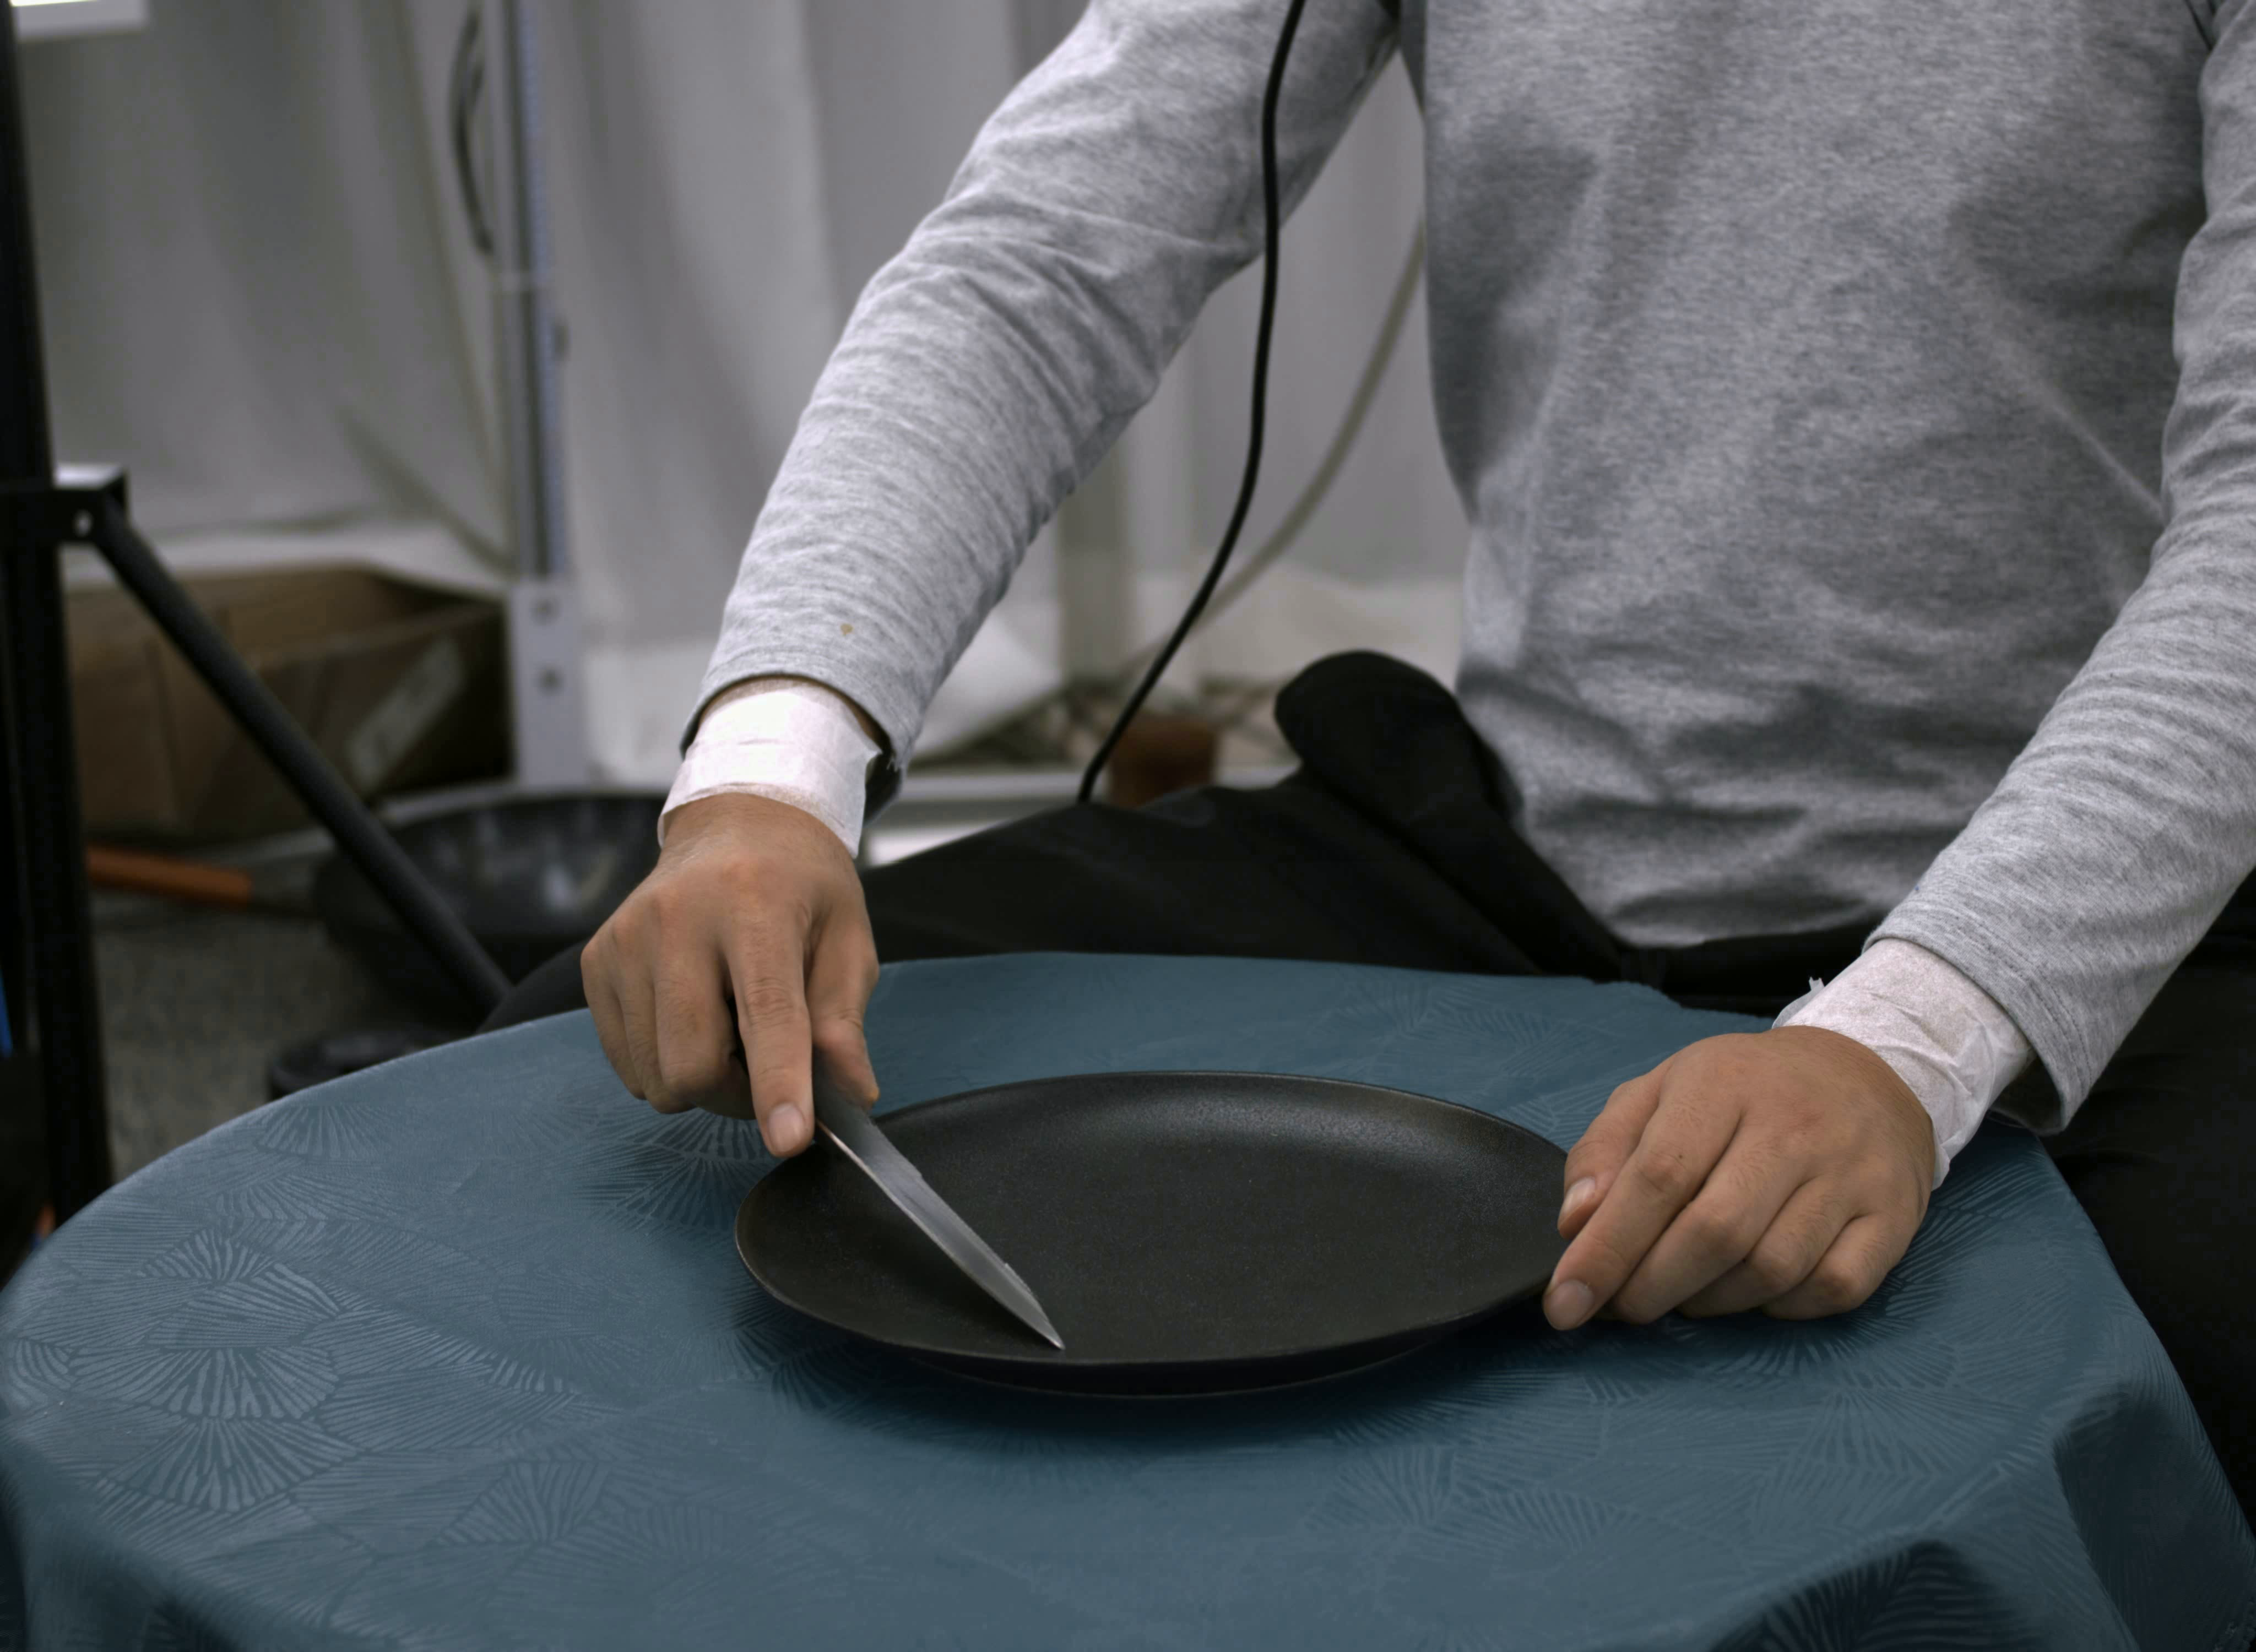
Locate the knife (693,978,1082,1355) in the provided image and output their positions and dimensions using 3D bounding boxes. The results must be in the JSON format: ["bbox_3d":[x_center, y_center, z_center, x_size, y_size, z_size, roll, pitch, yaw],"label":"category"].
[{"bbox_3d":[-0.071,0.096,1.514,0.024,0.016,0.243,10,17,-33],"label":"knife"}]

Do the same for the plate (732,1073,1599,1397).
[{"bbox_3d":[0.011,0.117,1.488,0.243,0.023,0.245,-3,16,-1],"label":"plate"}]
